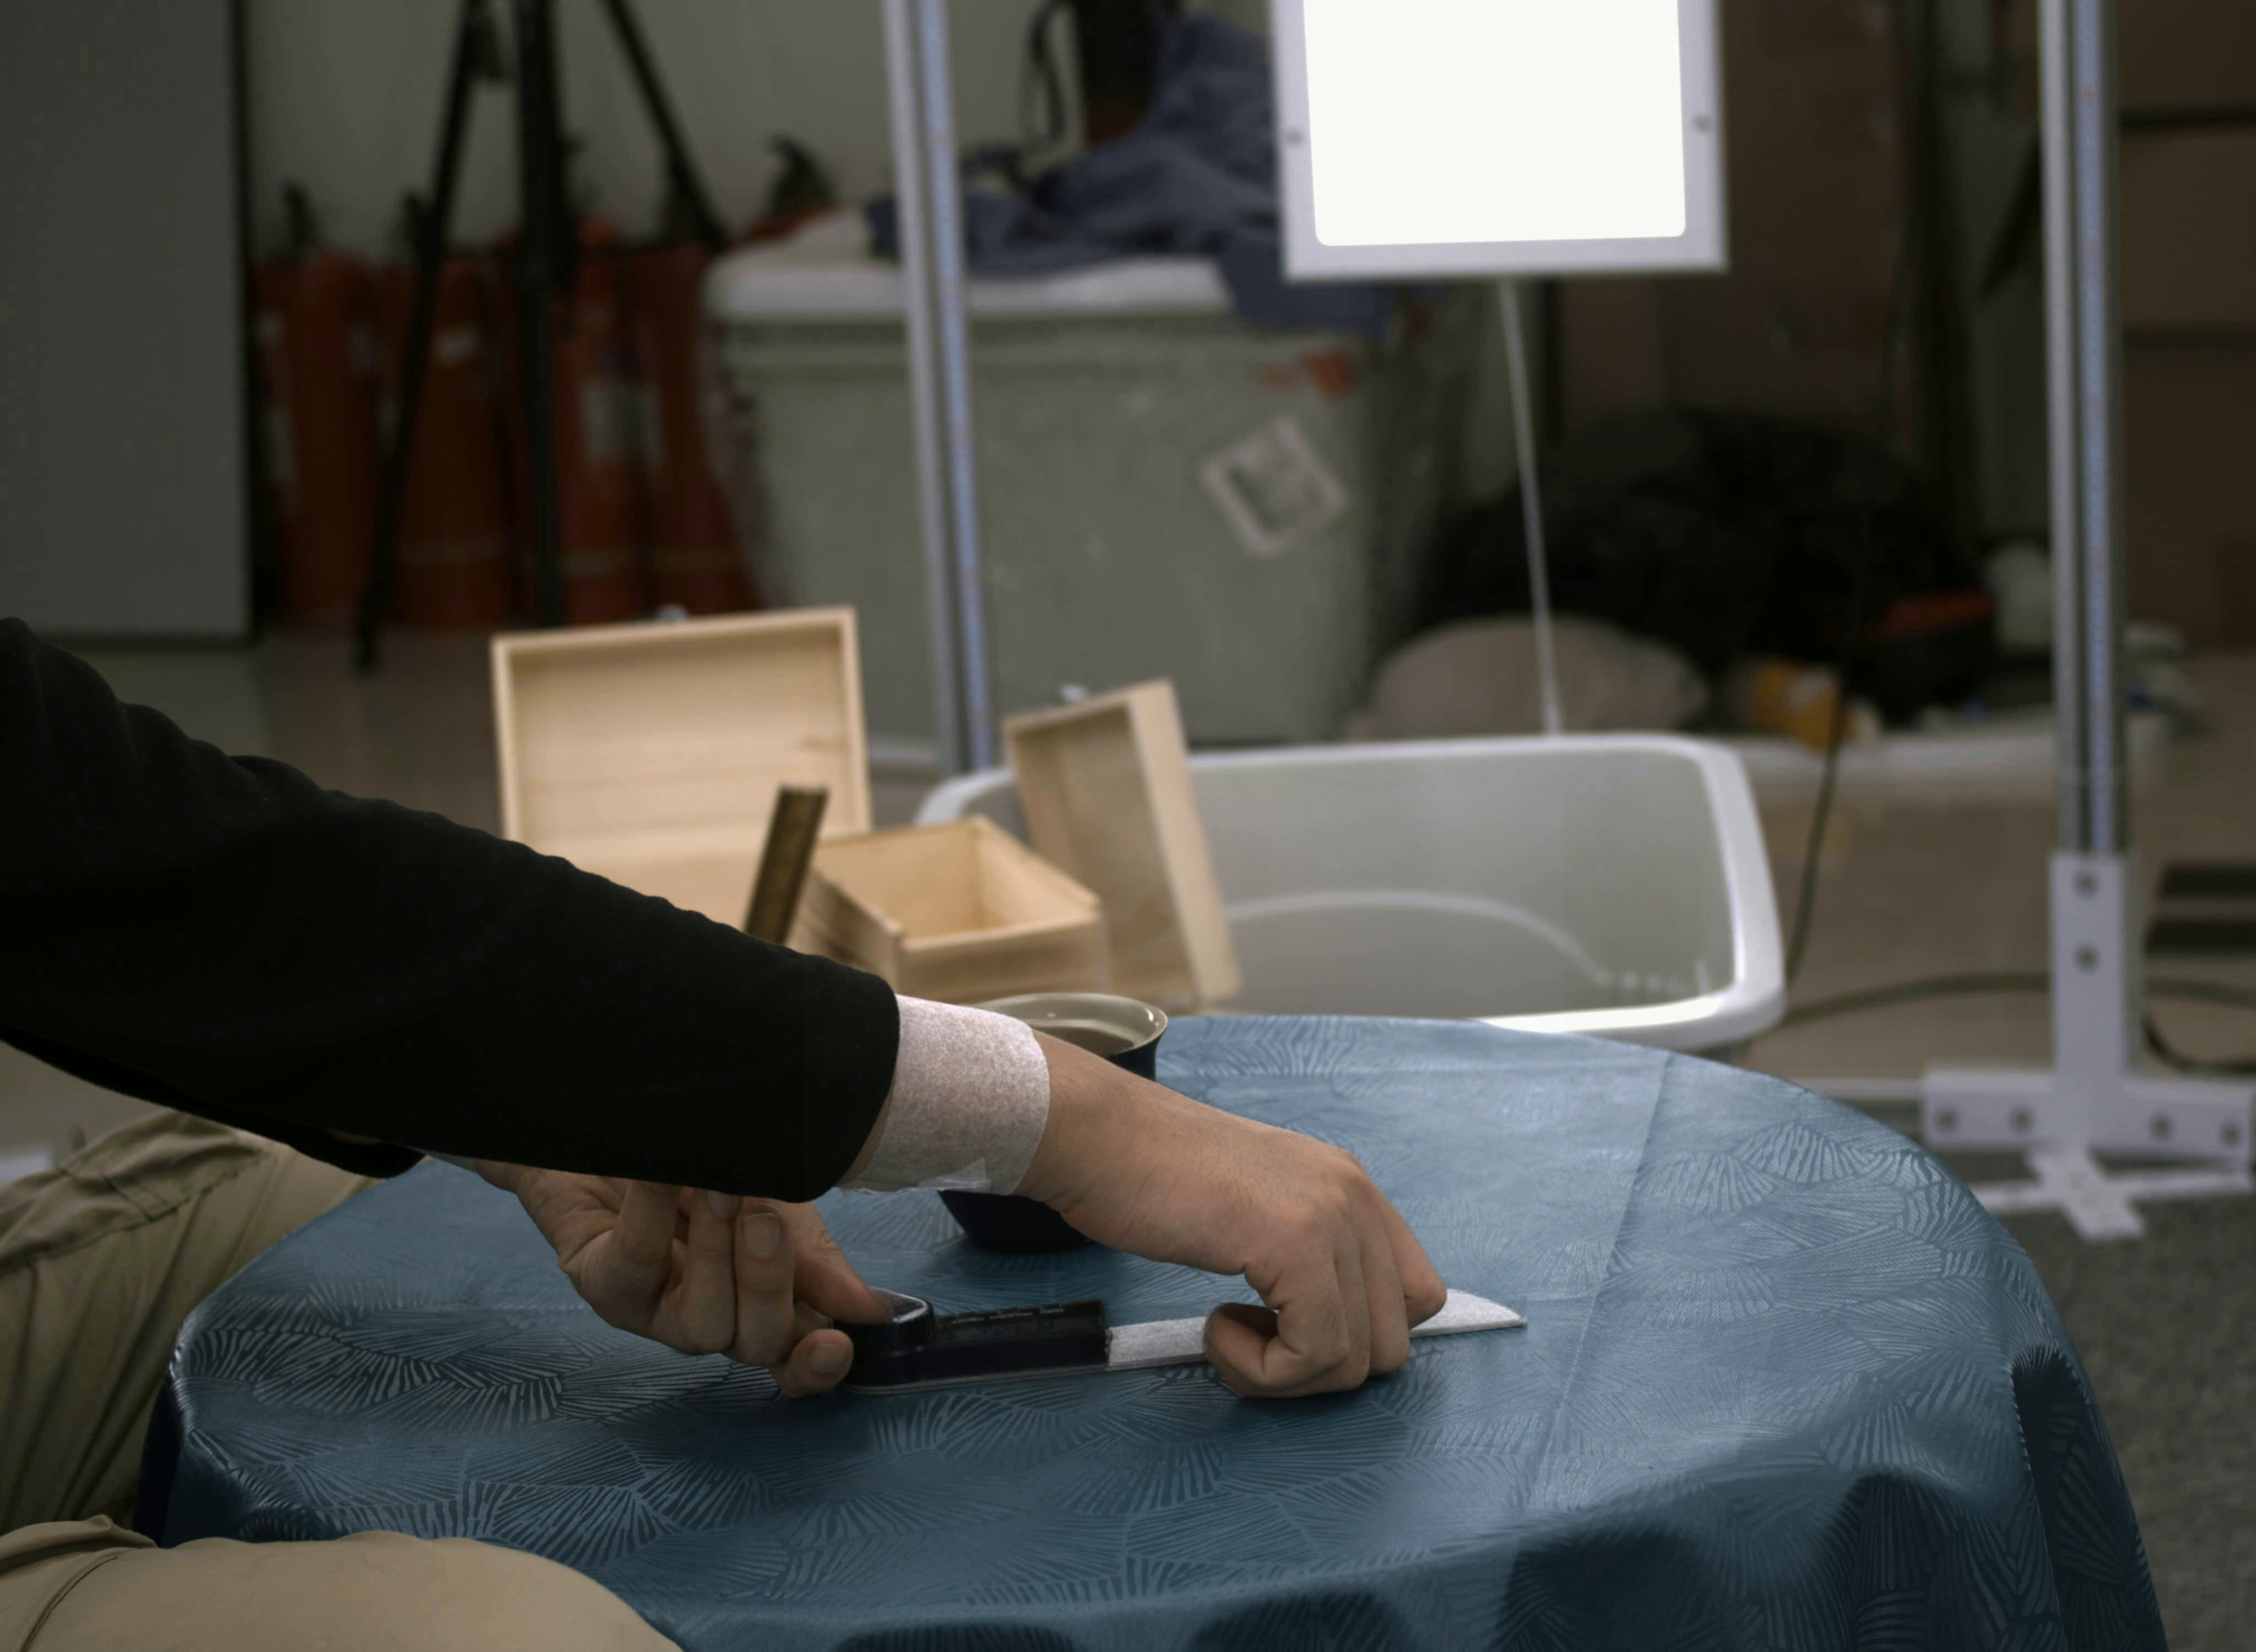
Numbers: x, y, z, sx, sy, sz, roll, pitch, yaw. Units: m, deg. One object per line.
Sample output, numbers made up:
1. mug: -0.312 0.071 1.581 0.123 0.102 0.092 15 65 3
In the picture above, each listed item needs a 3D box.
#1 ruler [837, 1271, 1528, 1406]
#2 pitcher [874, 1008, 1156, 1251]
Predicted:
1. ruler: 0.016 0.154 1.735 0.217 0.024 0.038 -7 20 -2
2. pitcher: -0.036 0.102 1.858 0.096 0.071 0.083 -2 15 10
